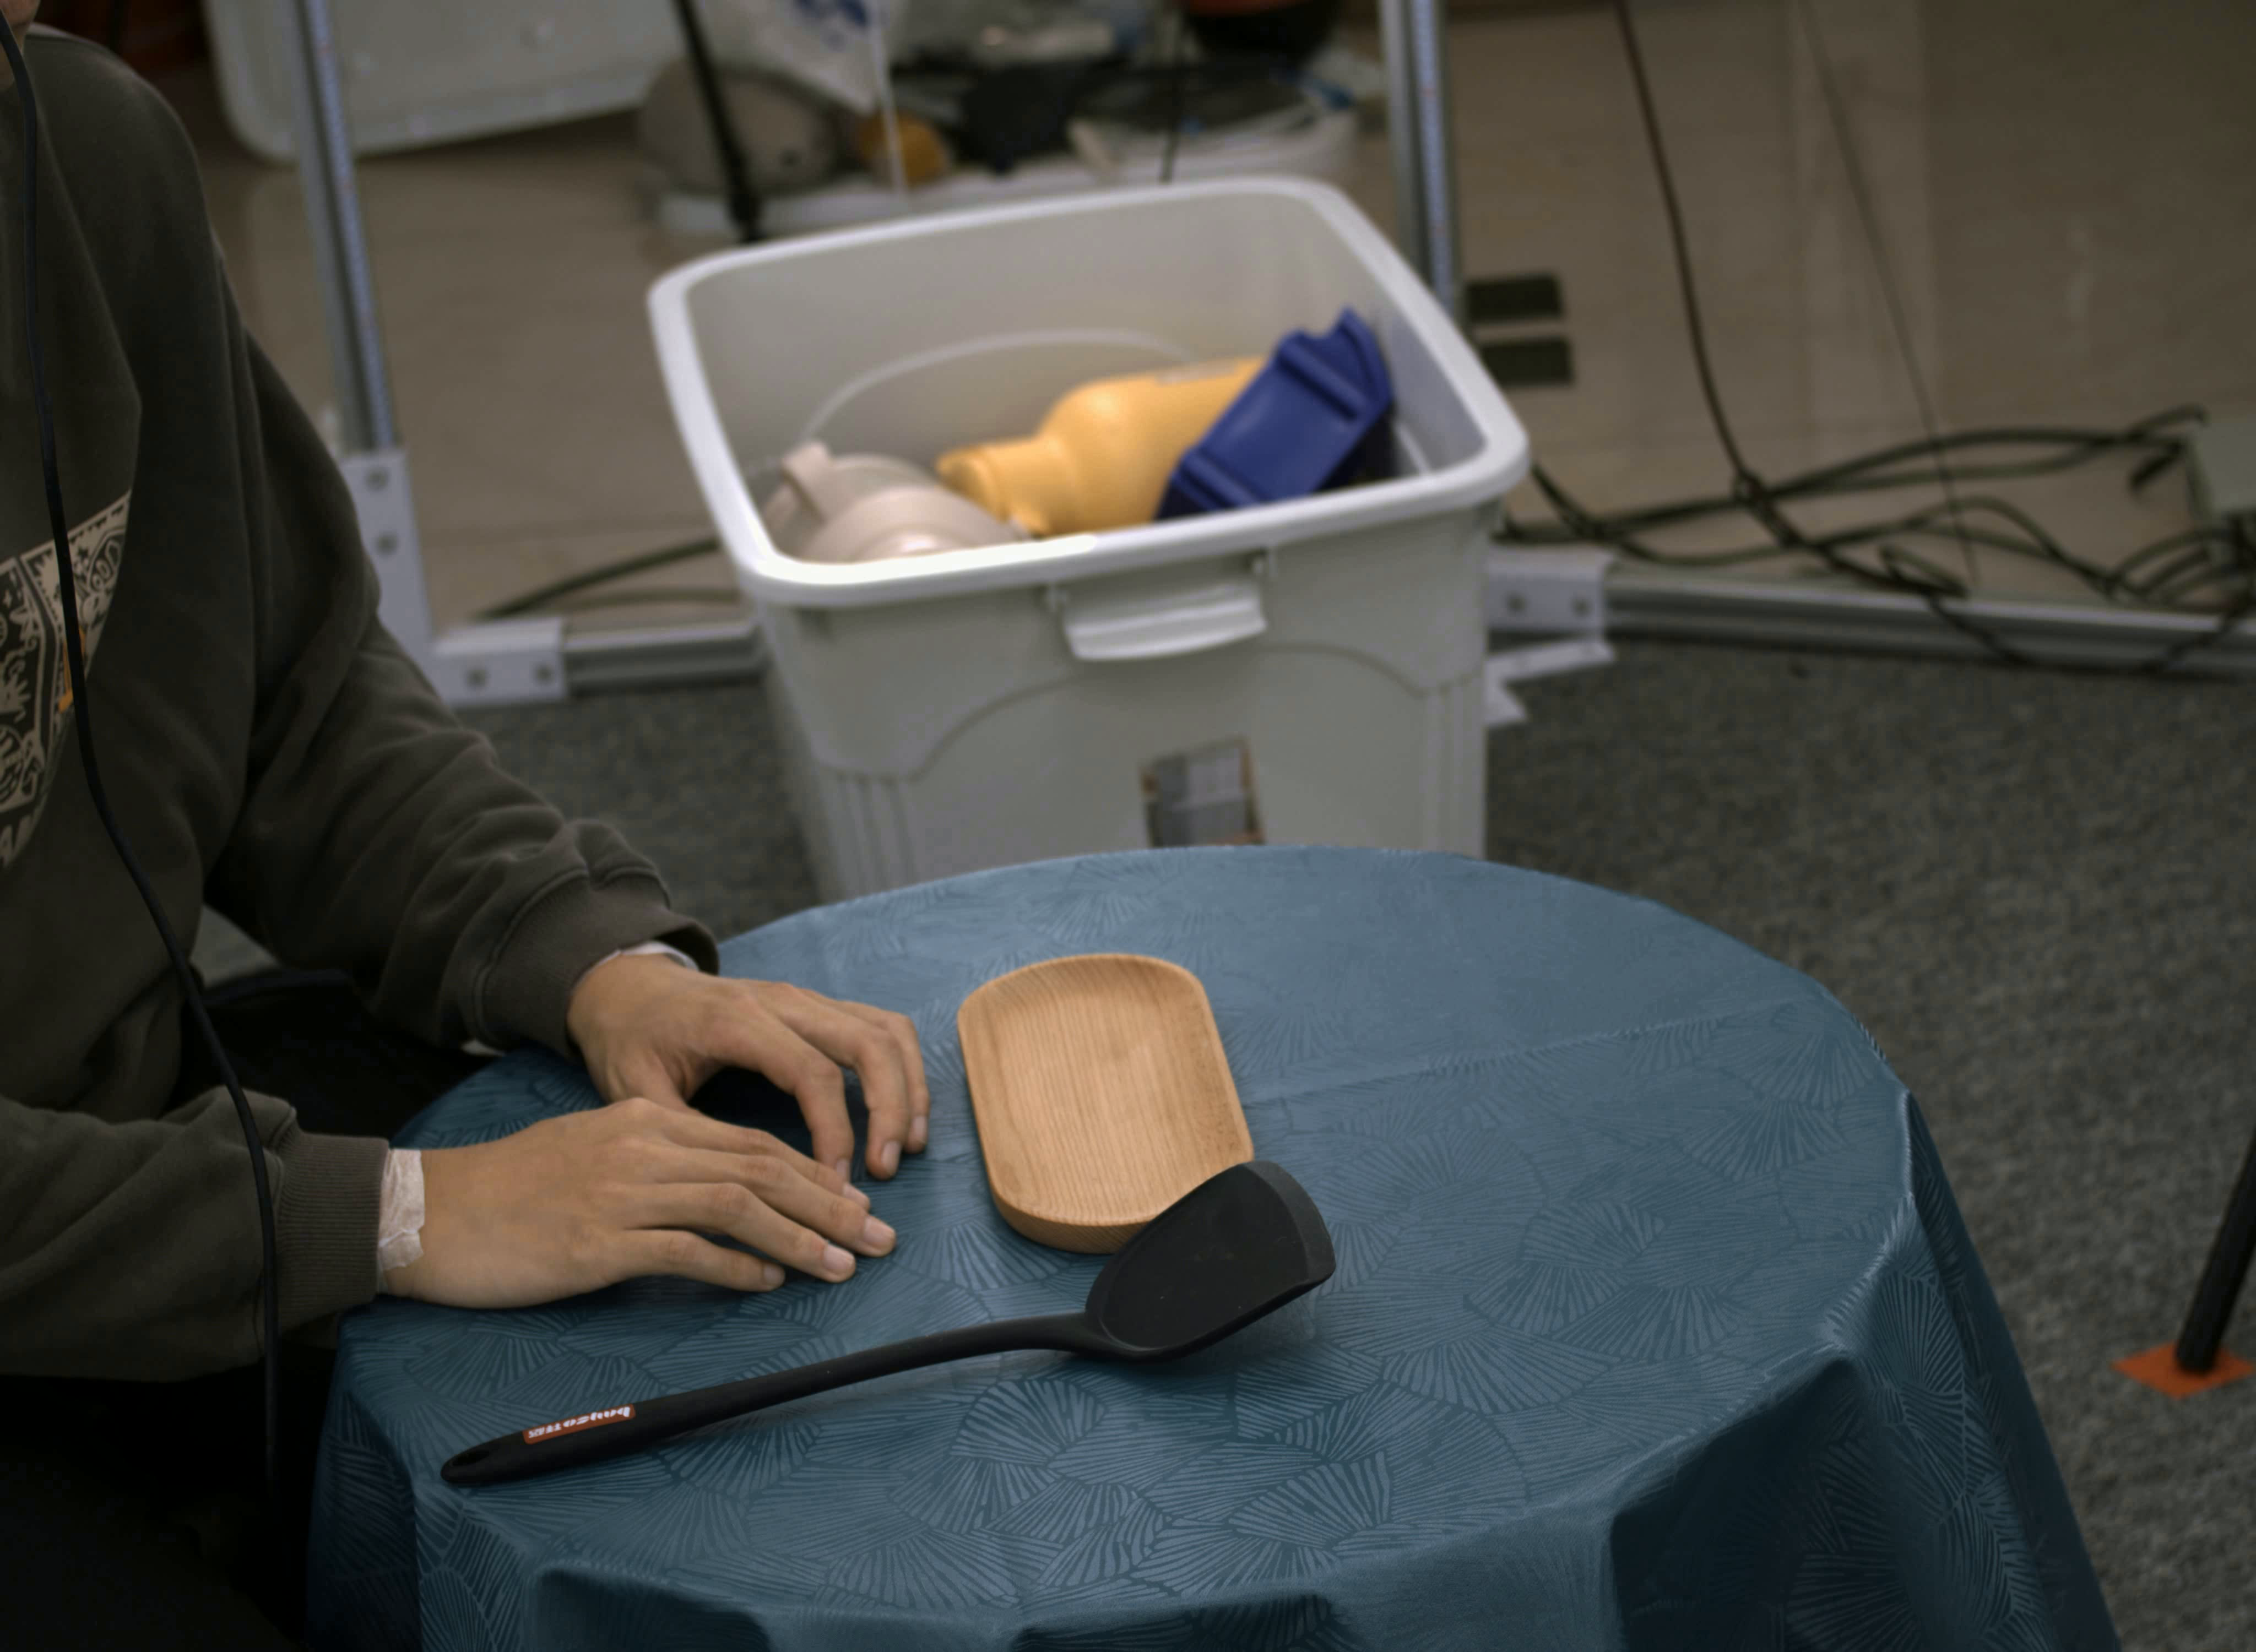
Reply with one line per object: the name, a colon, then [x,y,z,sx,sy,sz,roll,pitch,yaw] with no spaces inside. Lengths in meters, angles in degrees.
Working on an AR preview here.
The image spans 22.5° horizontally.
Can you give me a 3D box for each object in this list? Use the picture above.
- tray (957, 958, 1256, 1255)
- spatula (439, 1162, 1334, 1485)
tray: [-0.009,0.107,2.199,0.101,0.020,0.228,-9,26,-4]
spatula: [-0.088,0.186,2.025,0.325,0.041,0.098,-11,24,-9]
